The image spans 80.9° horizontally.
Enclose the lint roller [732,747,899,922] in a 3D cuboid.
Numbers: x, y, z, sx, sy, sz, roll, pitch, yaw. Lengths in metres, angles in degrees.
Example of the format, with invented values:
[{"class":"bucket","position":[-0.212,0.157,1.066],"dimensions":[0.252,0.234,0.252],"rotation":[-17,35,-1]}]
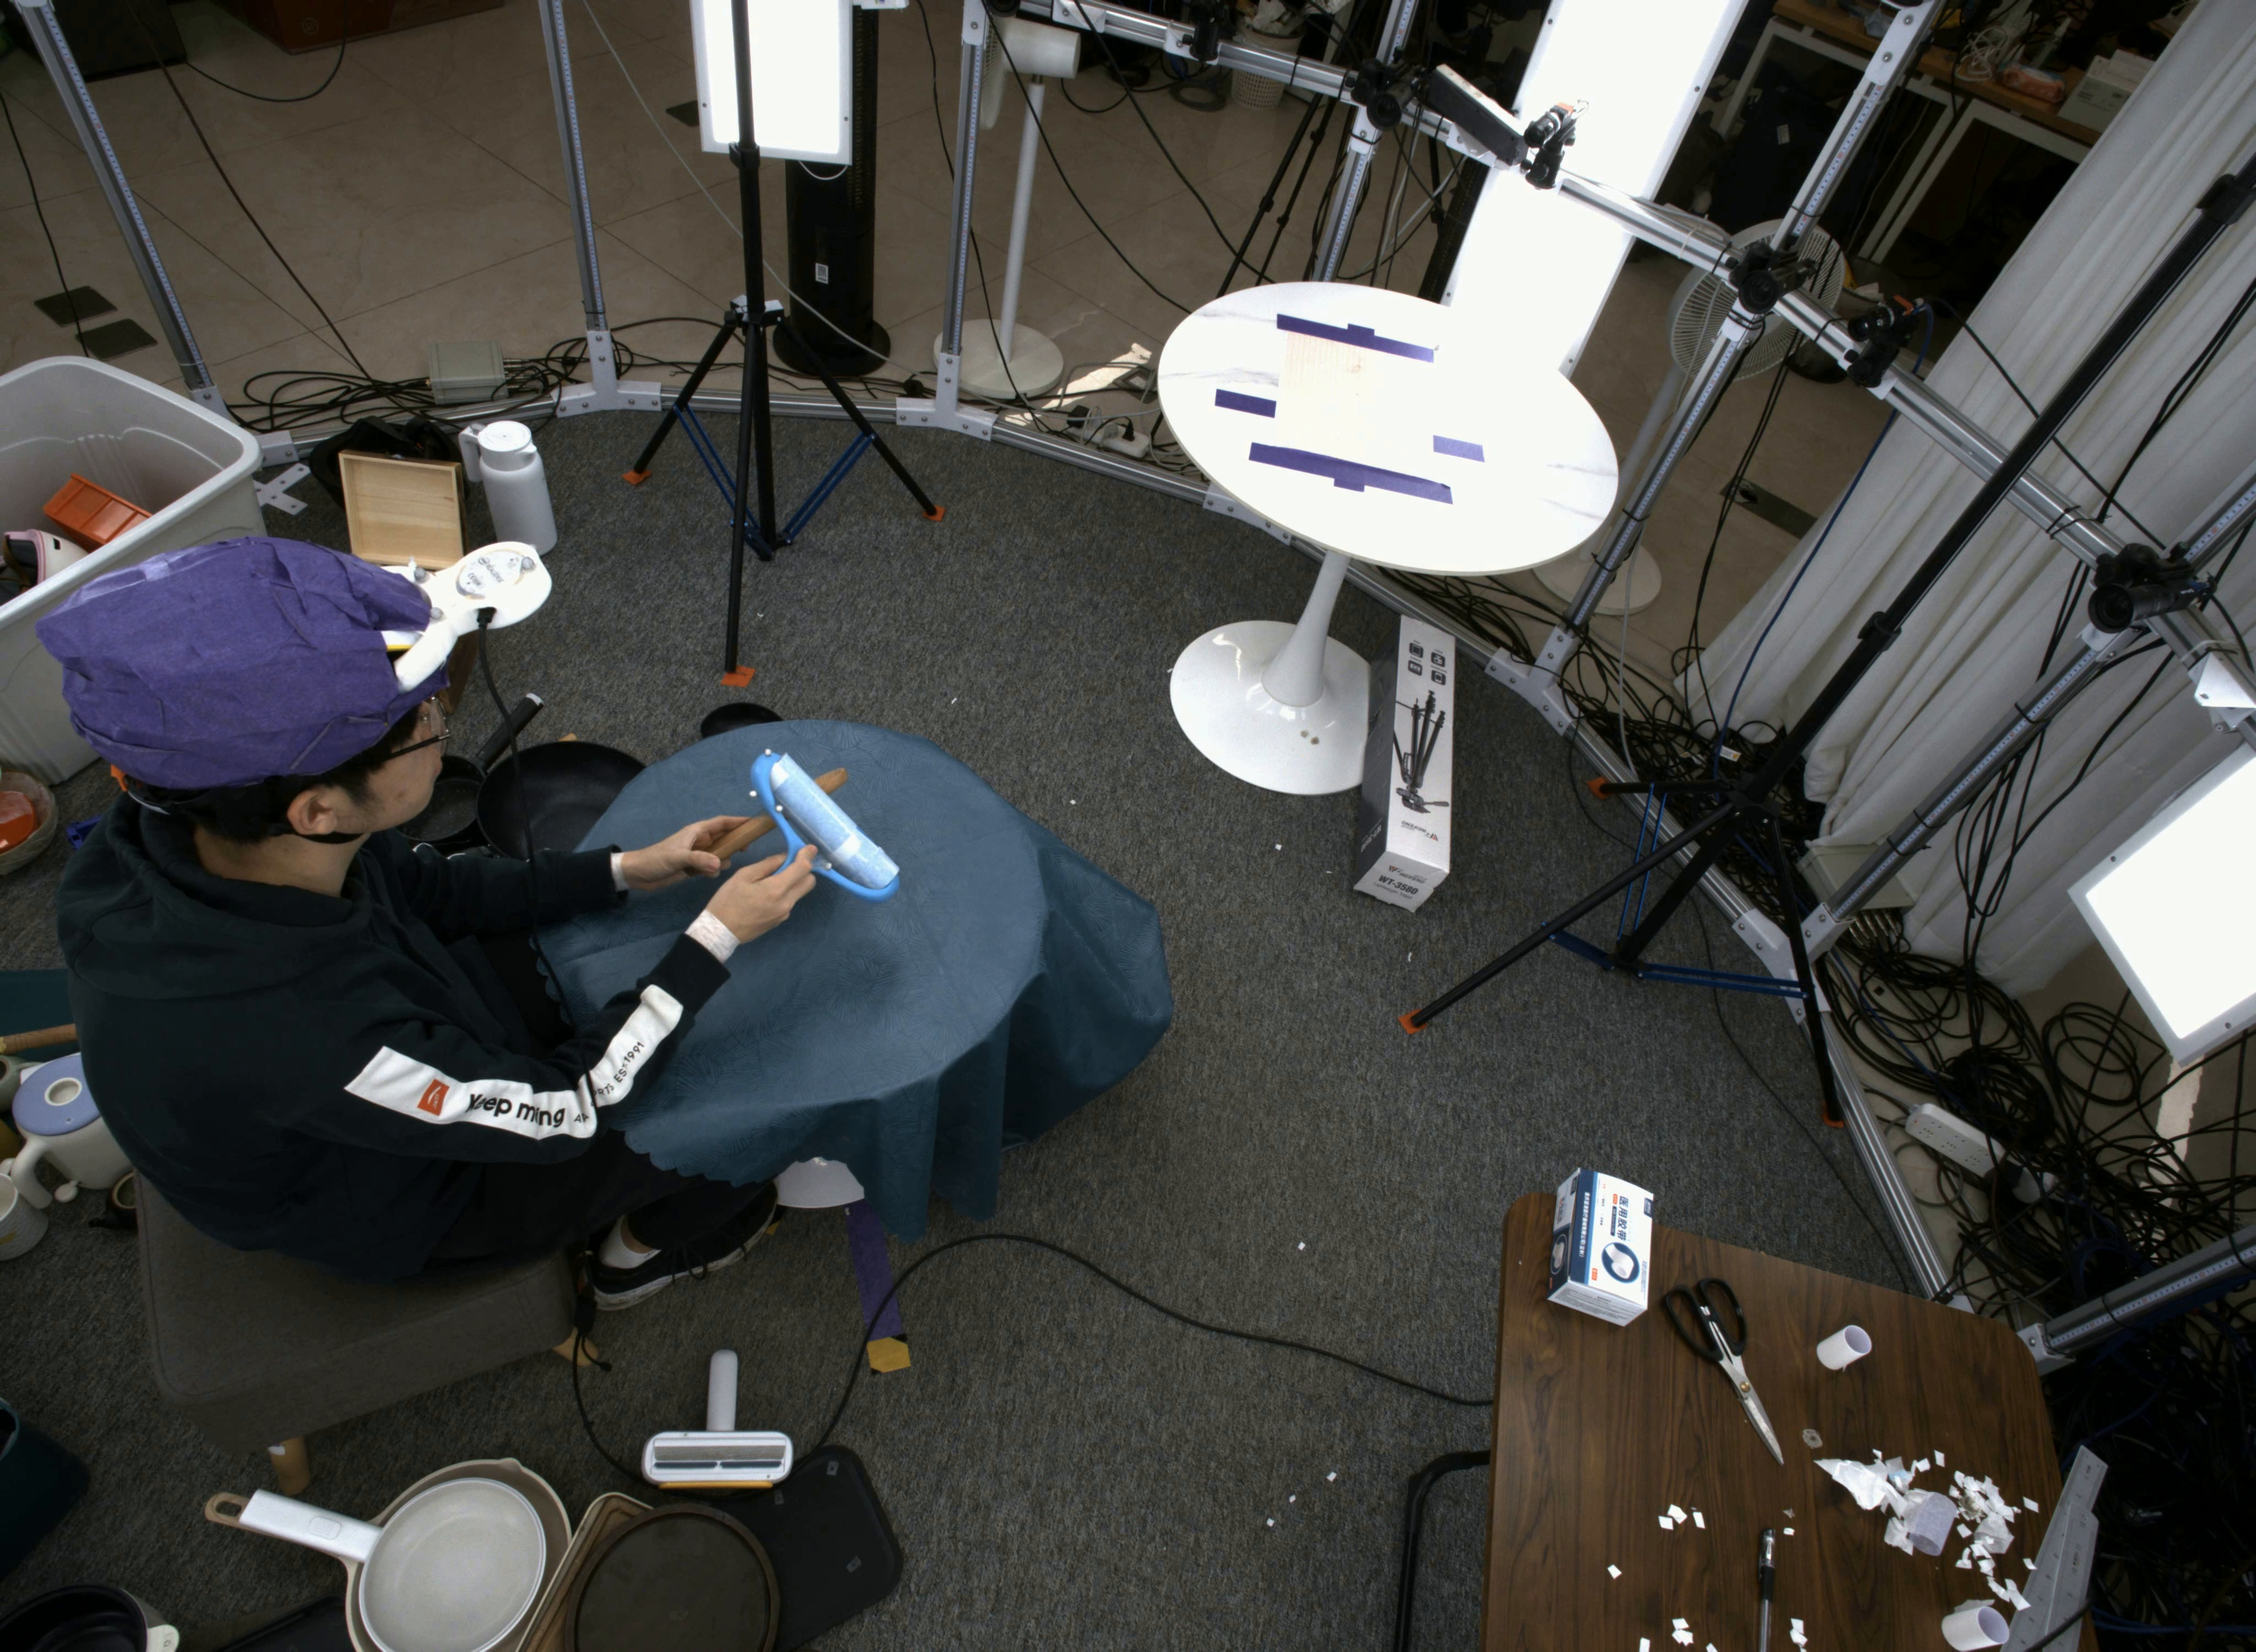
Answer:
[{"class":"lint roller","position":[-0.390,0.038,1.514],"dimensions":[0.235,0.066,0.180],"rotation":[46,61,-21]}]

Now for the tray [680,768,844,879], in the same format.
[{"class":"tray","position":[-0.450,-0.005,1.599],"dimensions":[0.231,0.099,0.021],"rotation":[-36,105,-16]}]
